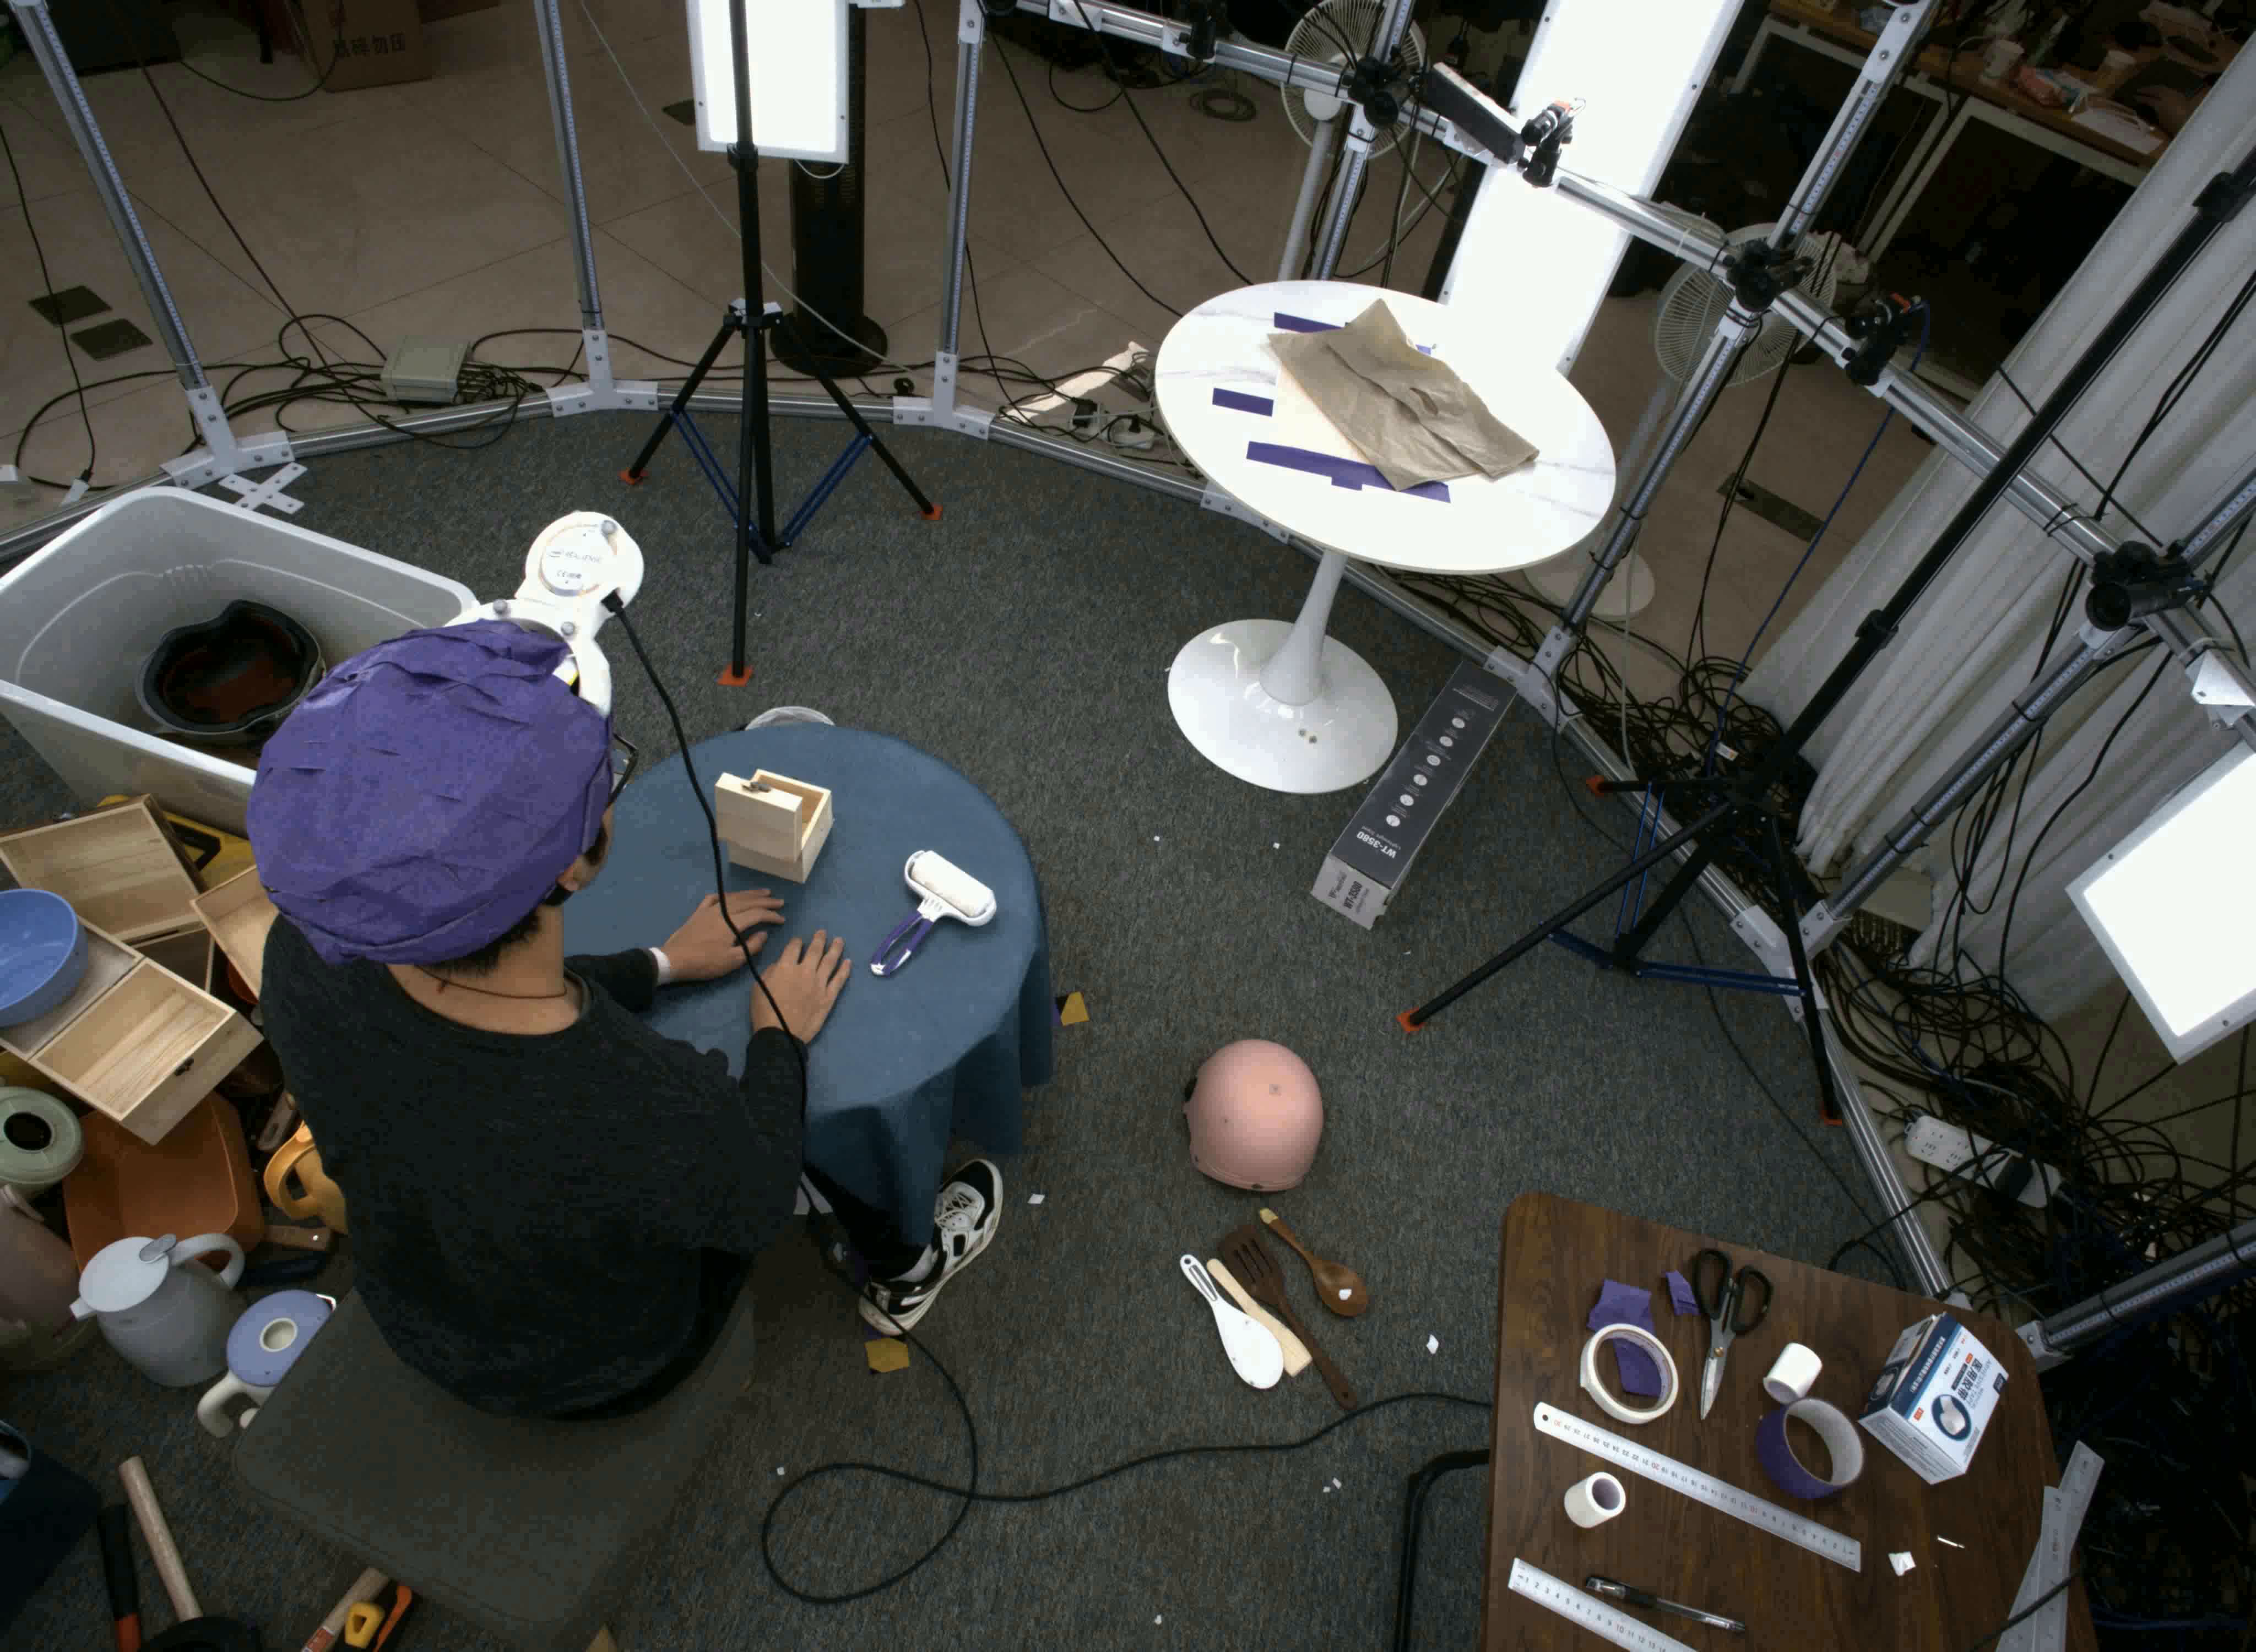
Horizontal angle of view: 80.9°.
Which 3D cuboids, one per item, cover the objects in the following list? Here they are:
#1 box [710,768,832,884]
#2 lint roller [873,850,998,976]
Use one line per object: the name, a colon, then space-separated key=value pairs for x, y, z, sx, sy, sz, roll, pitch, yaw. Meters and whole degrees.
box: x=-0.441 y=-0.027 z=1.616 sx=0.102 sy=0.188 sz=0.132 roll=15 pitch=52 yaw=0
lint roller: x=-0.263 y=0.113 z=1.646 sx=0.130 sy=0.051 sz=0.180 roll=35 pitch=52 yaw=11
